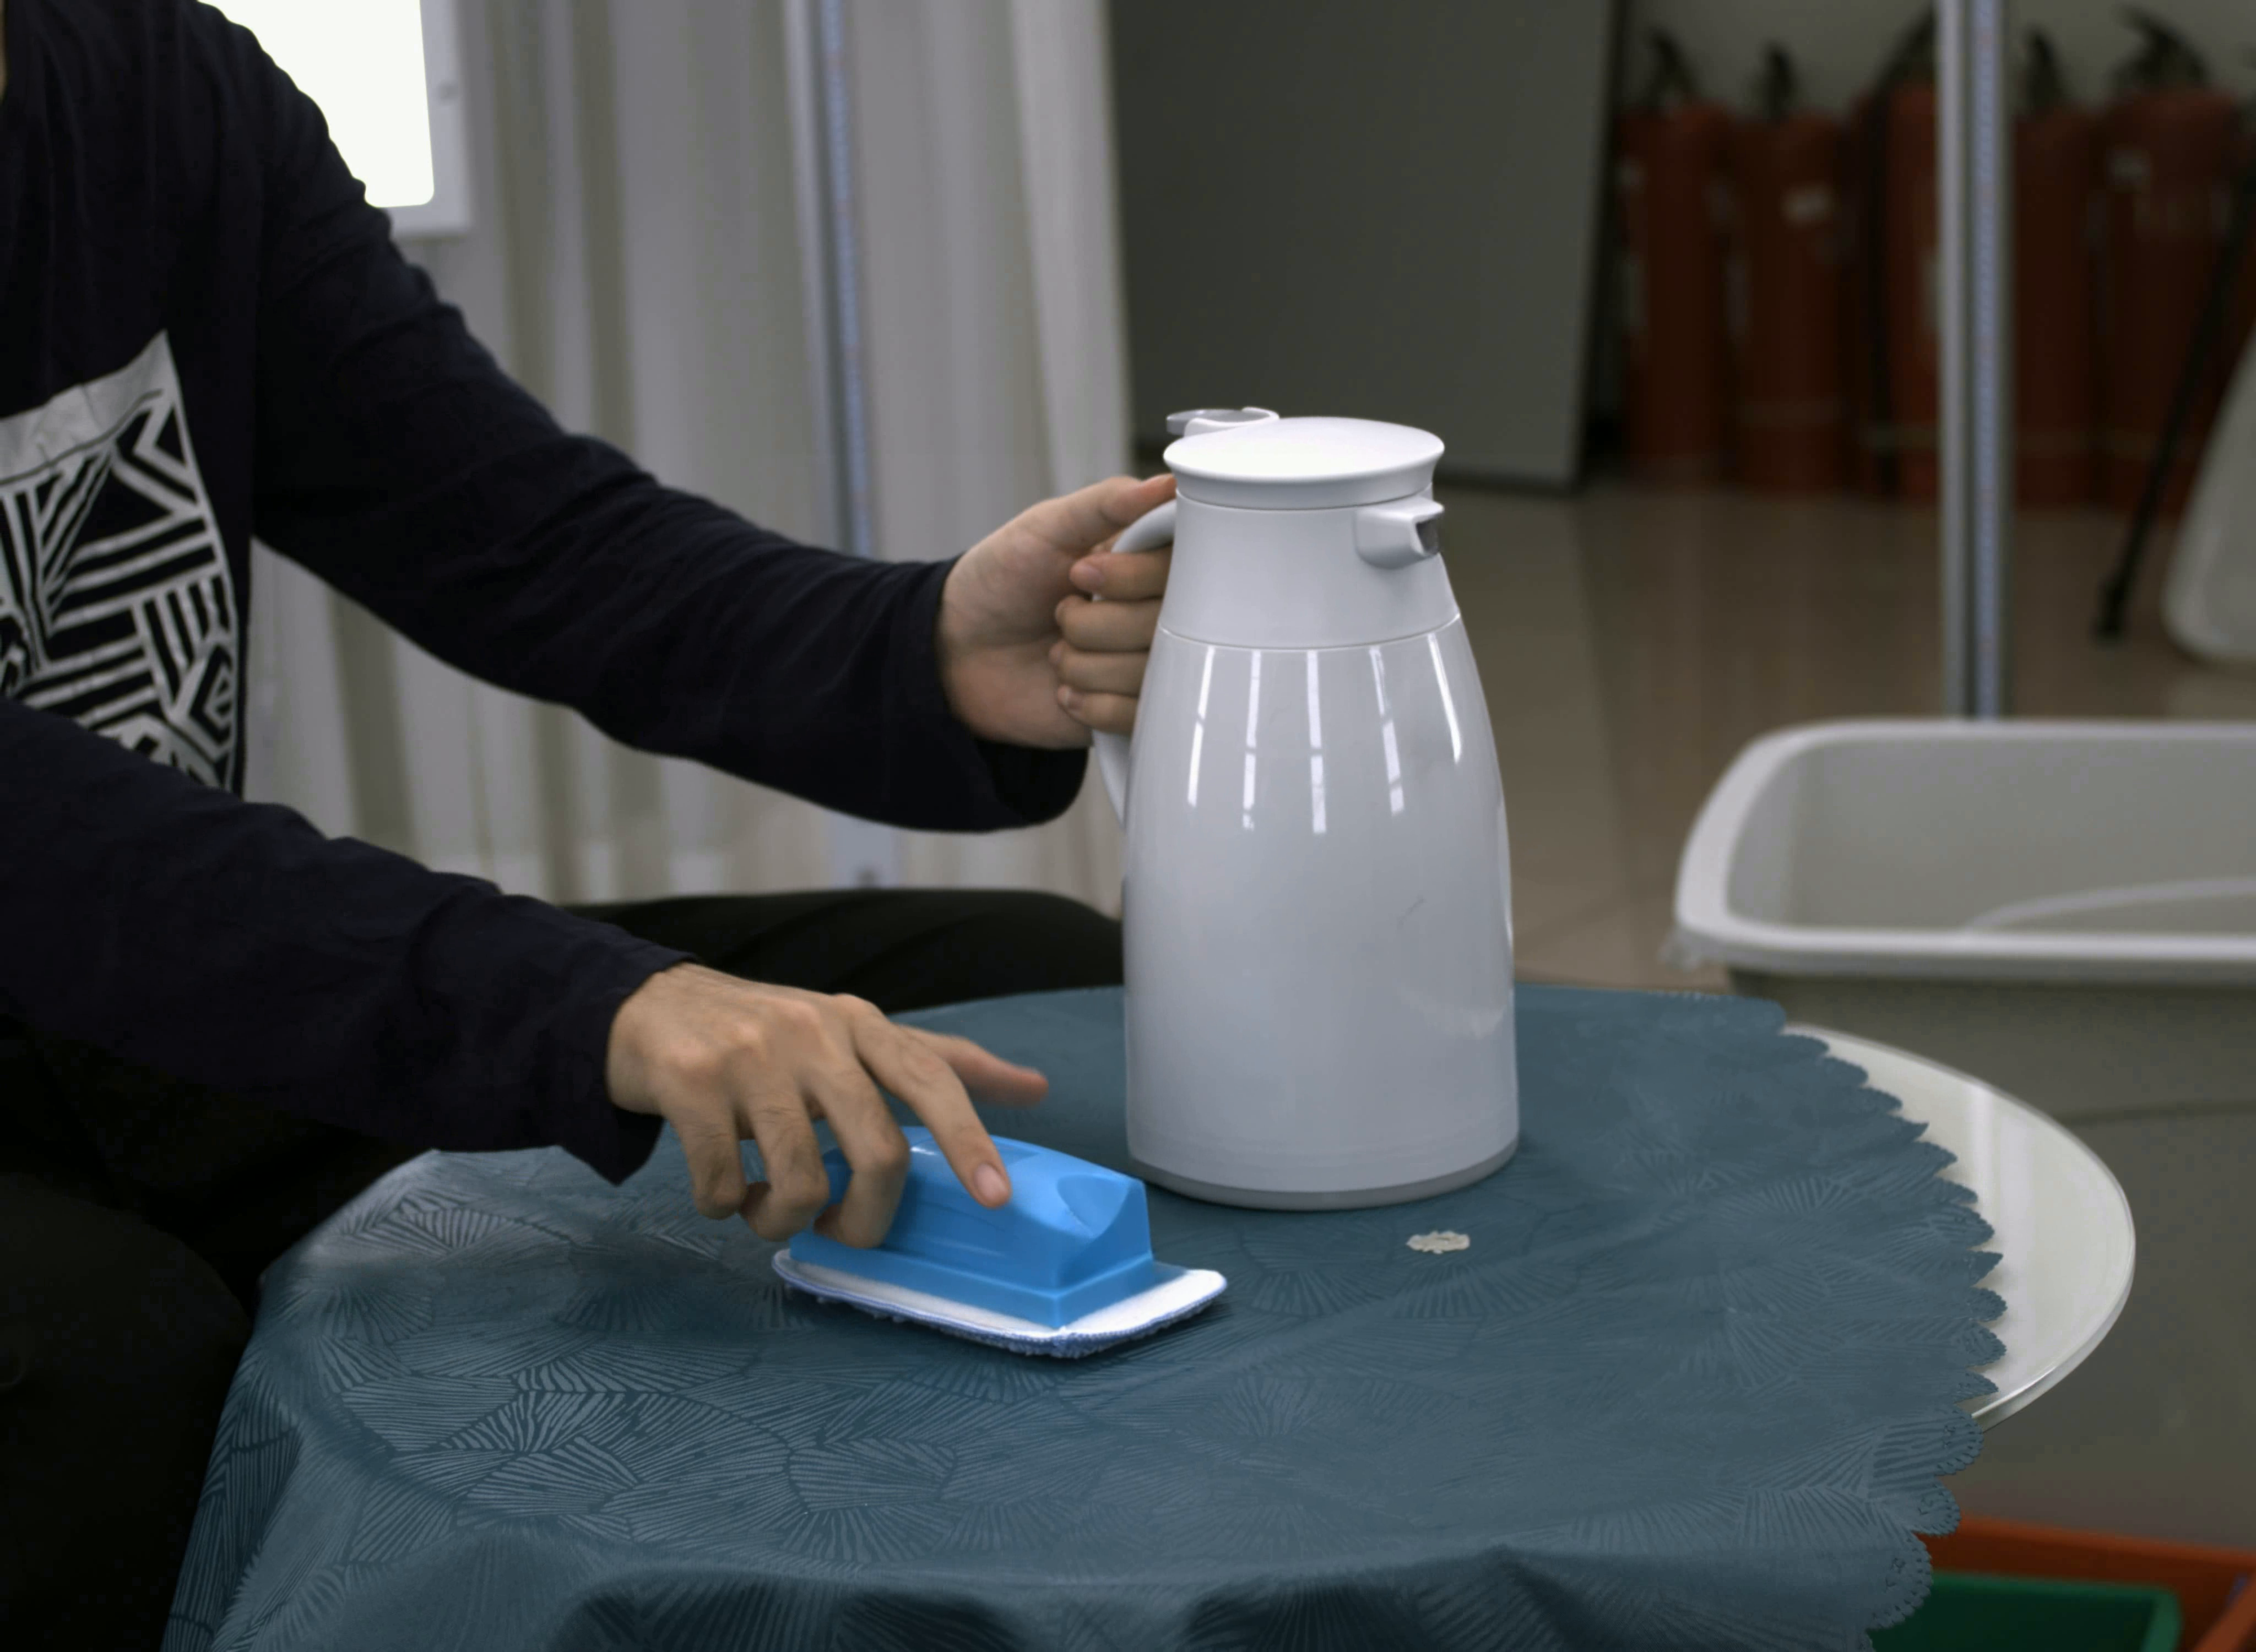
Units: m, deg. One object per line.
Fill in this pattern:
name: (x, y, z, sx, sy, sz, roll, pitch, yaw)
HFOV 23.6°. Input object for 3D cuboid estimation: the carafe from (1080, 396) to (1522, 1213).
carafe: (0.047, -0.014, 1.783, 0.130, 0.251, 0.169, -15, 17, -40)

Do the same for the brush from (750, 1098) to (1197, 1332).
brush: (-0.048, 0.119, 1.673, 0.082, 0.056, 0.145, -12, 17, -41)
